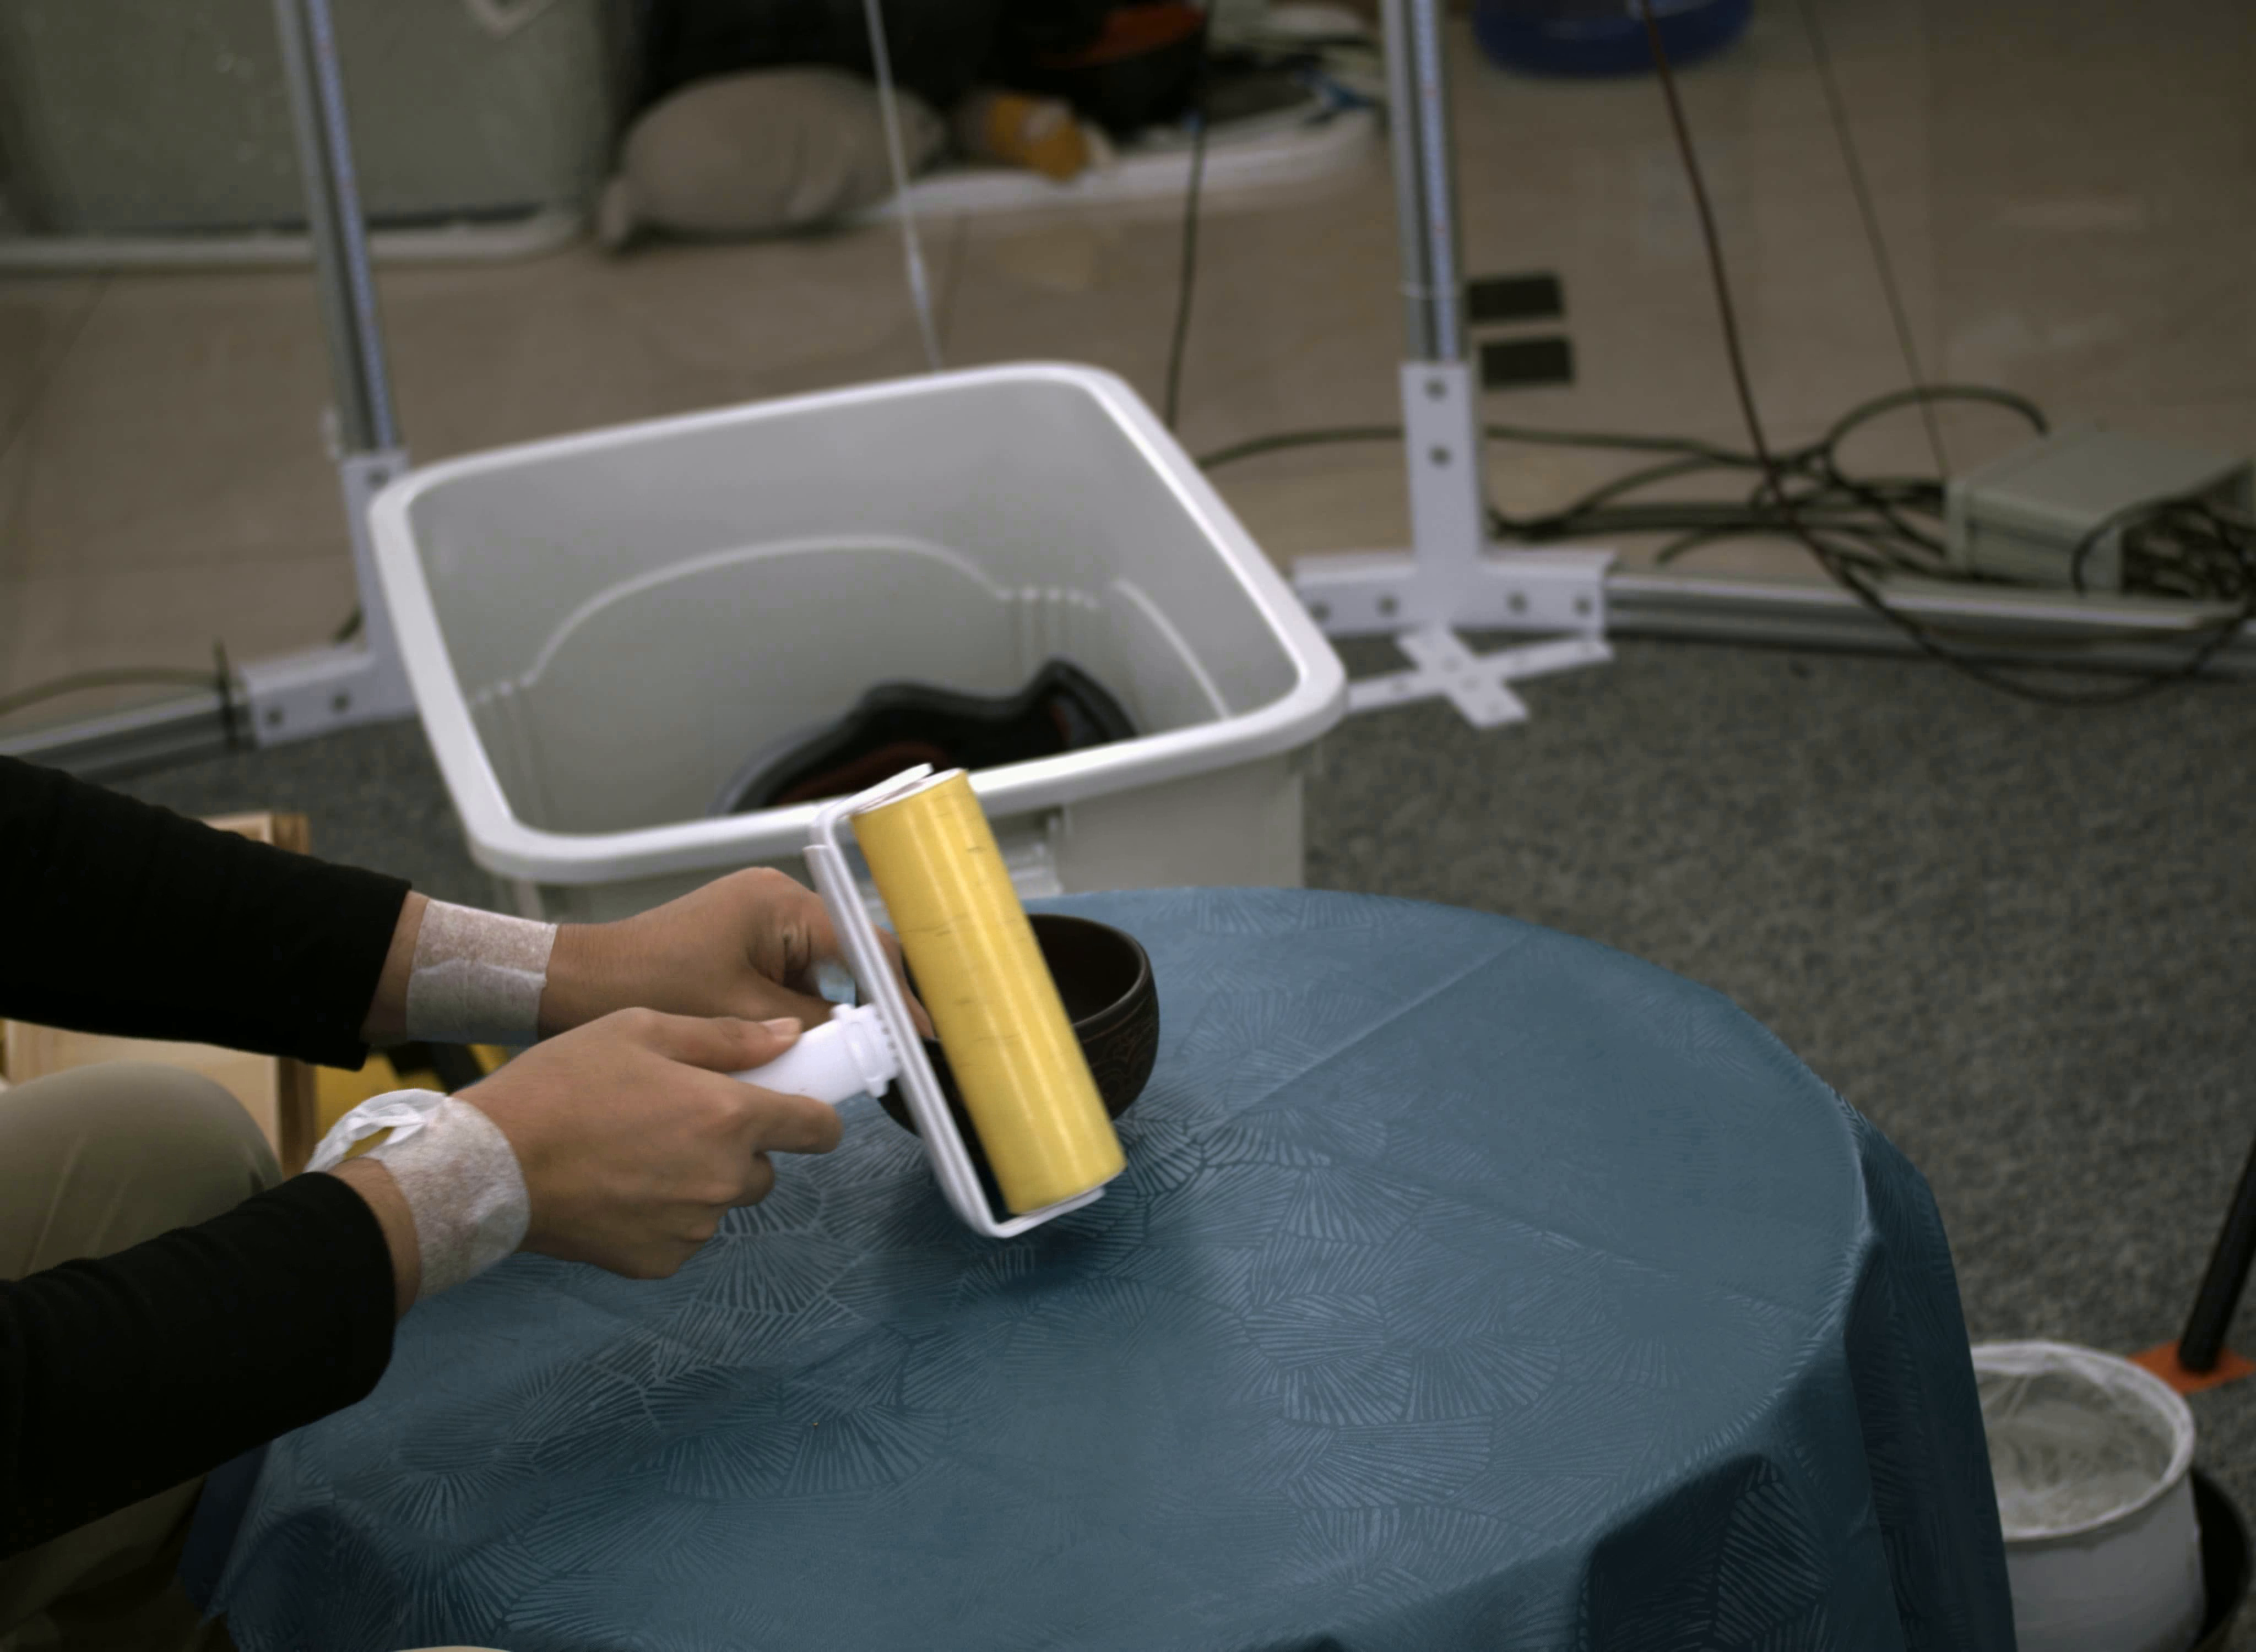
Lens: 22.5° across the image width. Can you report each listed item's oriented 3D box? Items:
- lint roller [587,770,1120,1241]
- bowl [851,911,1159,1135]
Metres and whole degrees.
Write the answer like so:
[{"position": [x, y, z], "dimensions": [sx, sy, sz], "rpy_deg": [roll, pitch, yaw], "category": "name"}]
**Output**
[{"position": [-0.110, 0.091, 2.057], "dimensions": [0.190, 0.175, 0.051], "rpy_deg": [-29, 10, -34], "category": "lint roller"}, {"position": [-0.045, 0.087, 2.182], "dimensions": [0.118, 0.071, 0.116], "rpy_deg": [-5, 24, 2], "category": "bowl"}]
